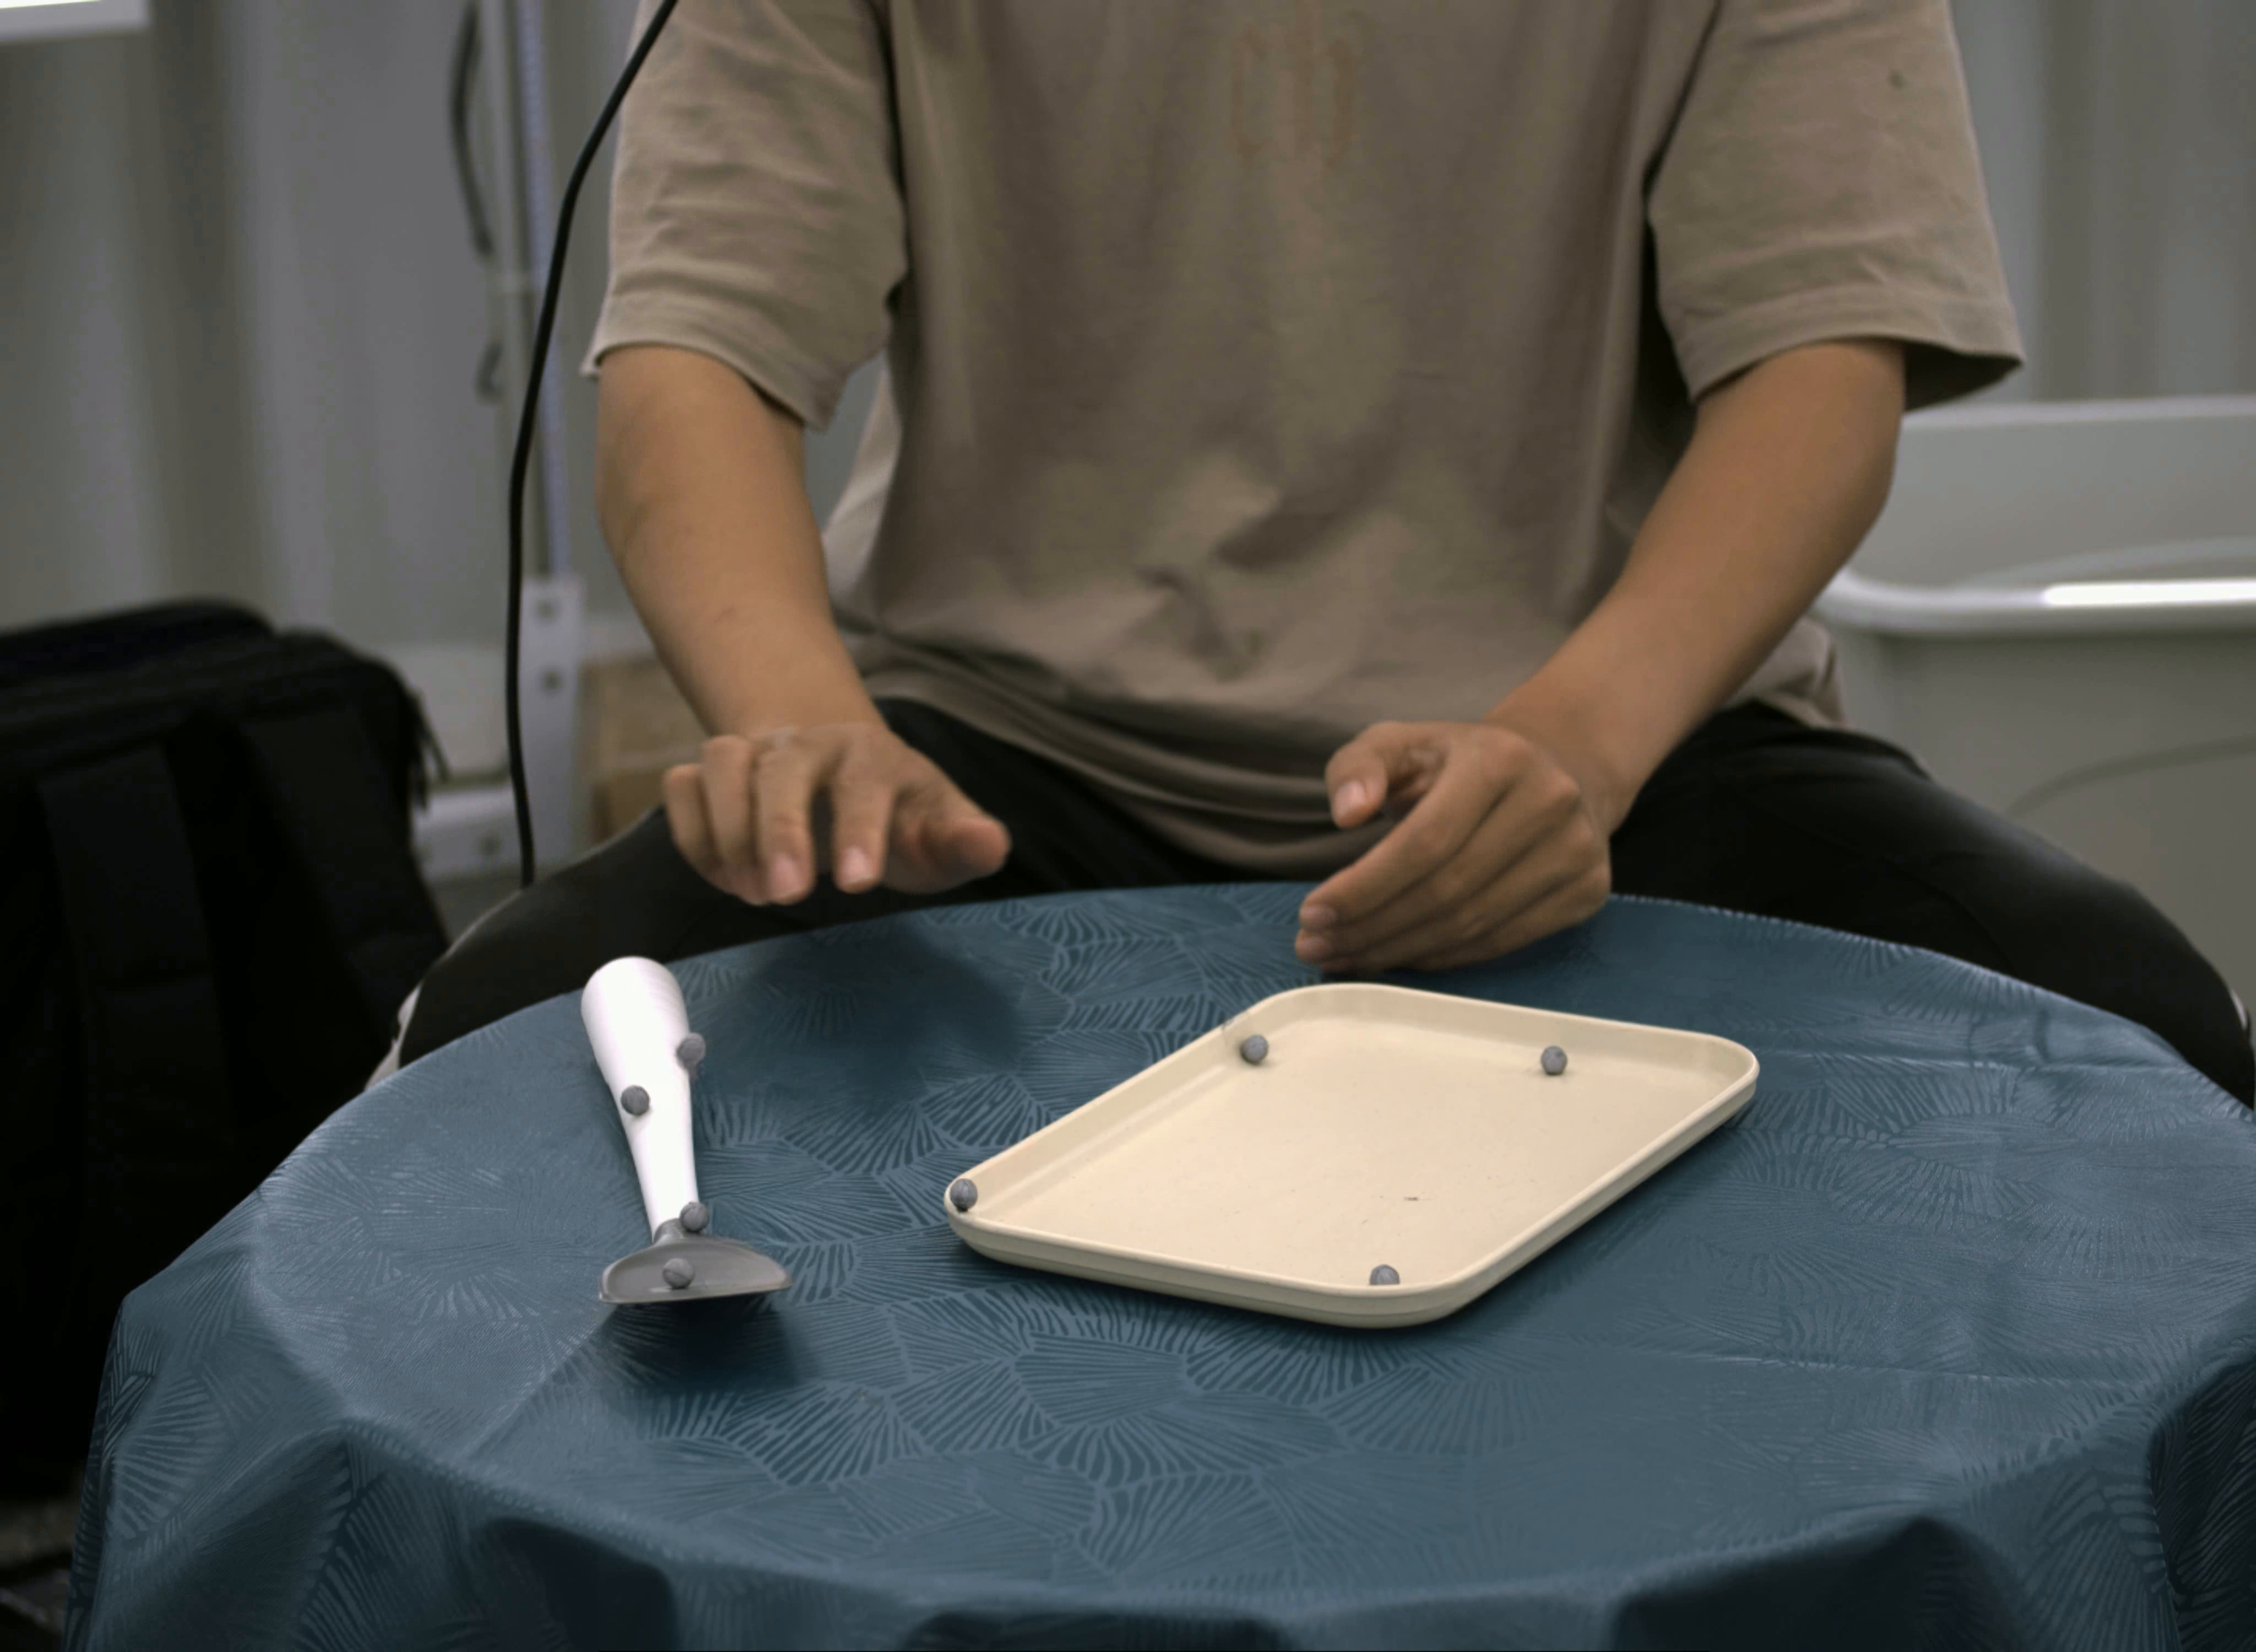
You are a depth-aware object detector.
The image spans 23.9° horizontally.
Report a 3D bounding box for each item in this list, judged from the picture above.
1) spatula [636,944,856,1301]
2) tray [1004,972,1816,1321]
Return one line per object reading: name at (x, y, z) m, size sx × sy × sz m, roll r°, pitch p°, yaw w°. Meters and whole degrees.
spatula at (-0.118, 0.092, 1.552) m, size 0.058 × 0.032 × 0.290 m, roll 0°, pitch 16°, yaw -9°
tray at (0.086, 0.092, 1.554) m, size 0.174 × 0.017 × 0.235 m, roll 9°, pitch 19°, yaw 31°
